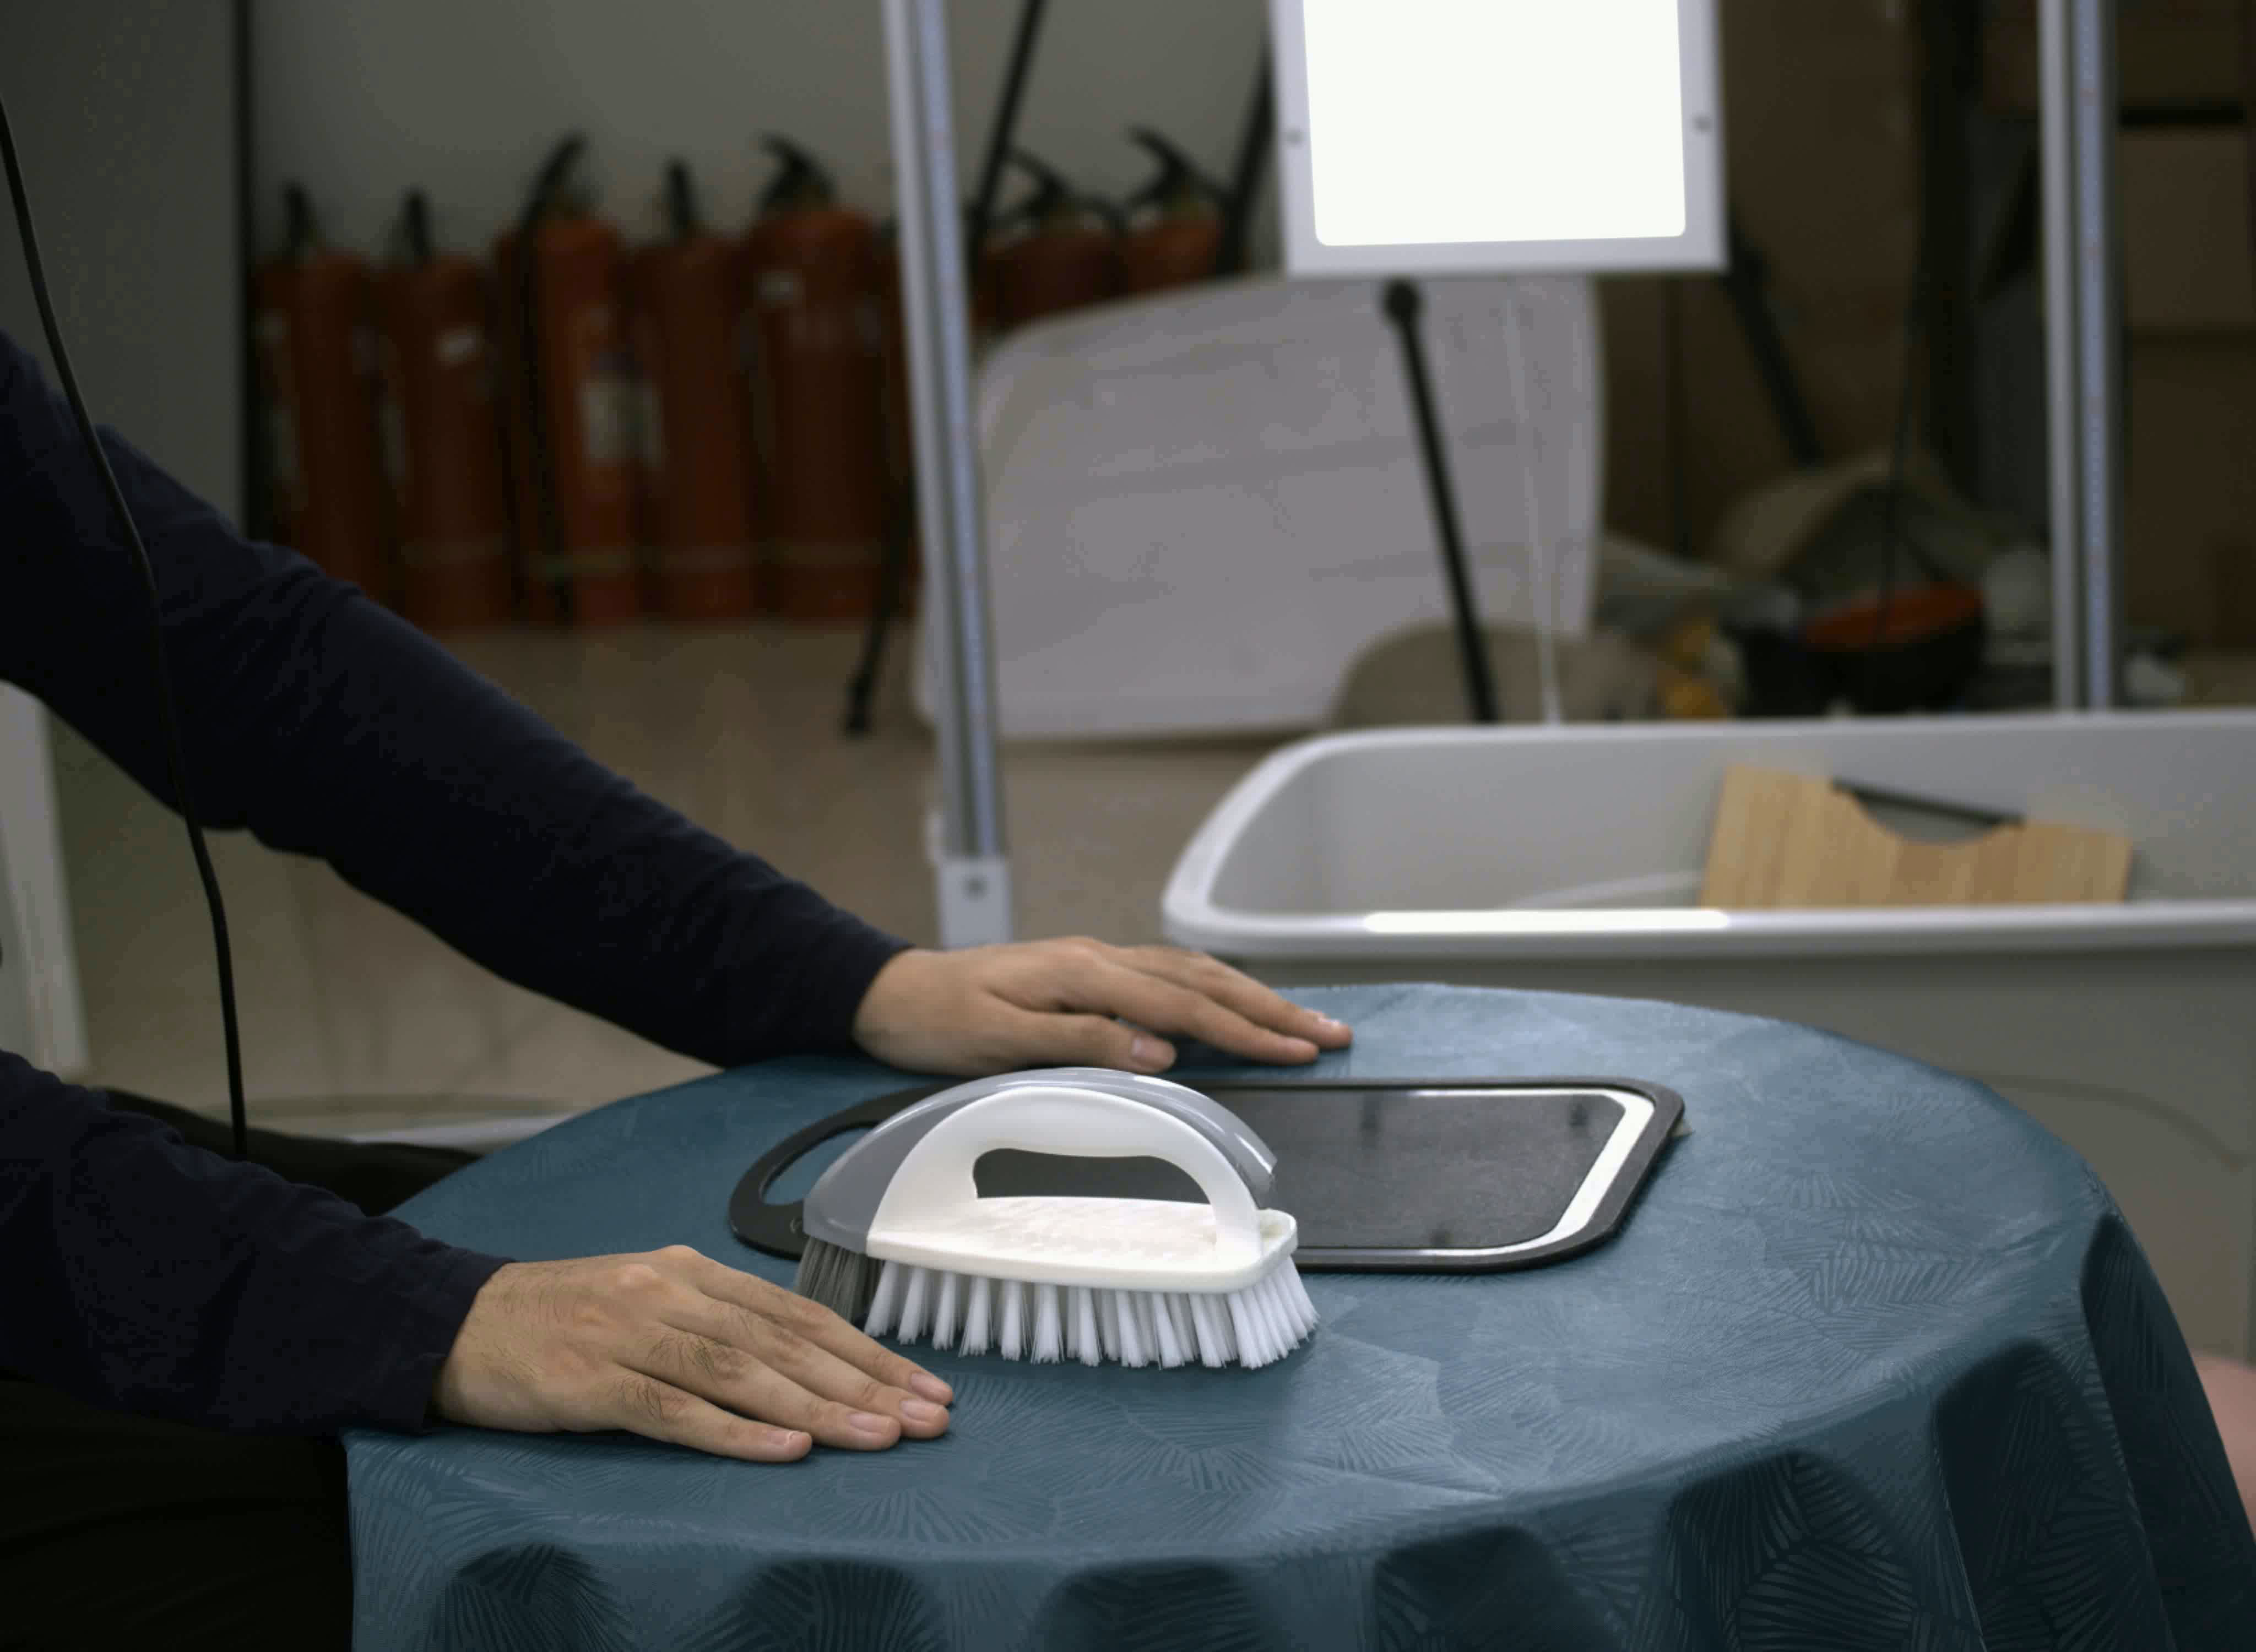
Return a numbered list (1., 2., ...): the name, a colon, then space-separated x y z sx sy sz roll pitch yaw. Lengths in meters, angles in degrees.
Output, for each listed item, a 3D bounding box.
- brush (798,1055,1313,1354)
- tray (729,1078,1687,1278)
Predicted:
1. brush: -0.031 0.119 1.746 0.178 0.094 0.060 -1 13 27
2. tray: 0.023 0.118 1.911 0.329 0.010 0.207 -1 14 19
